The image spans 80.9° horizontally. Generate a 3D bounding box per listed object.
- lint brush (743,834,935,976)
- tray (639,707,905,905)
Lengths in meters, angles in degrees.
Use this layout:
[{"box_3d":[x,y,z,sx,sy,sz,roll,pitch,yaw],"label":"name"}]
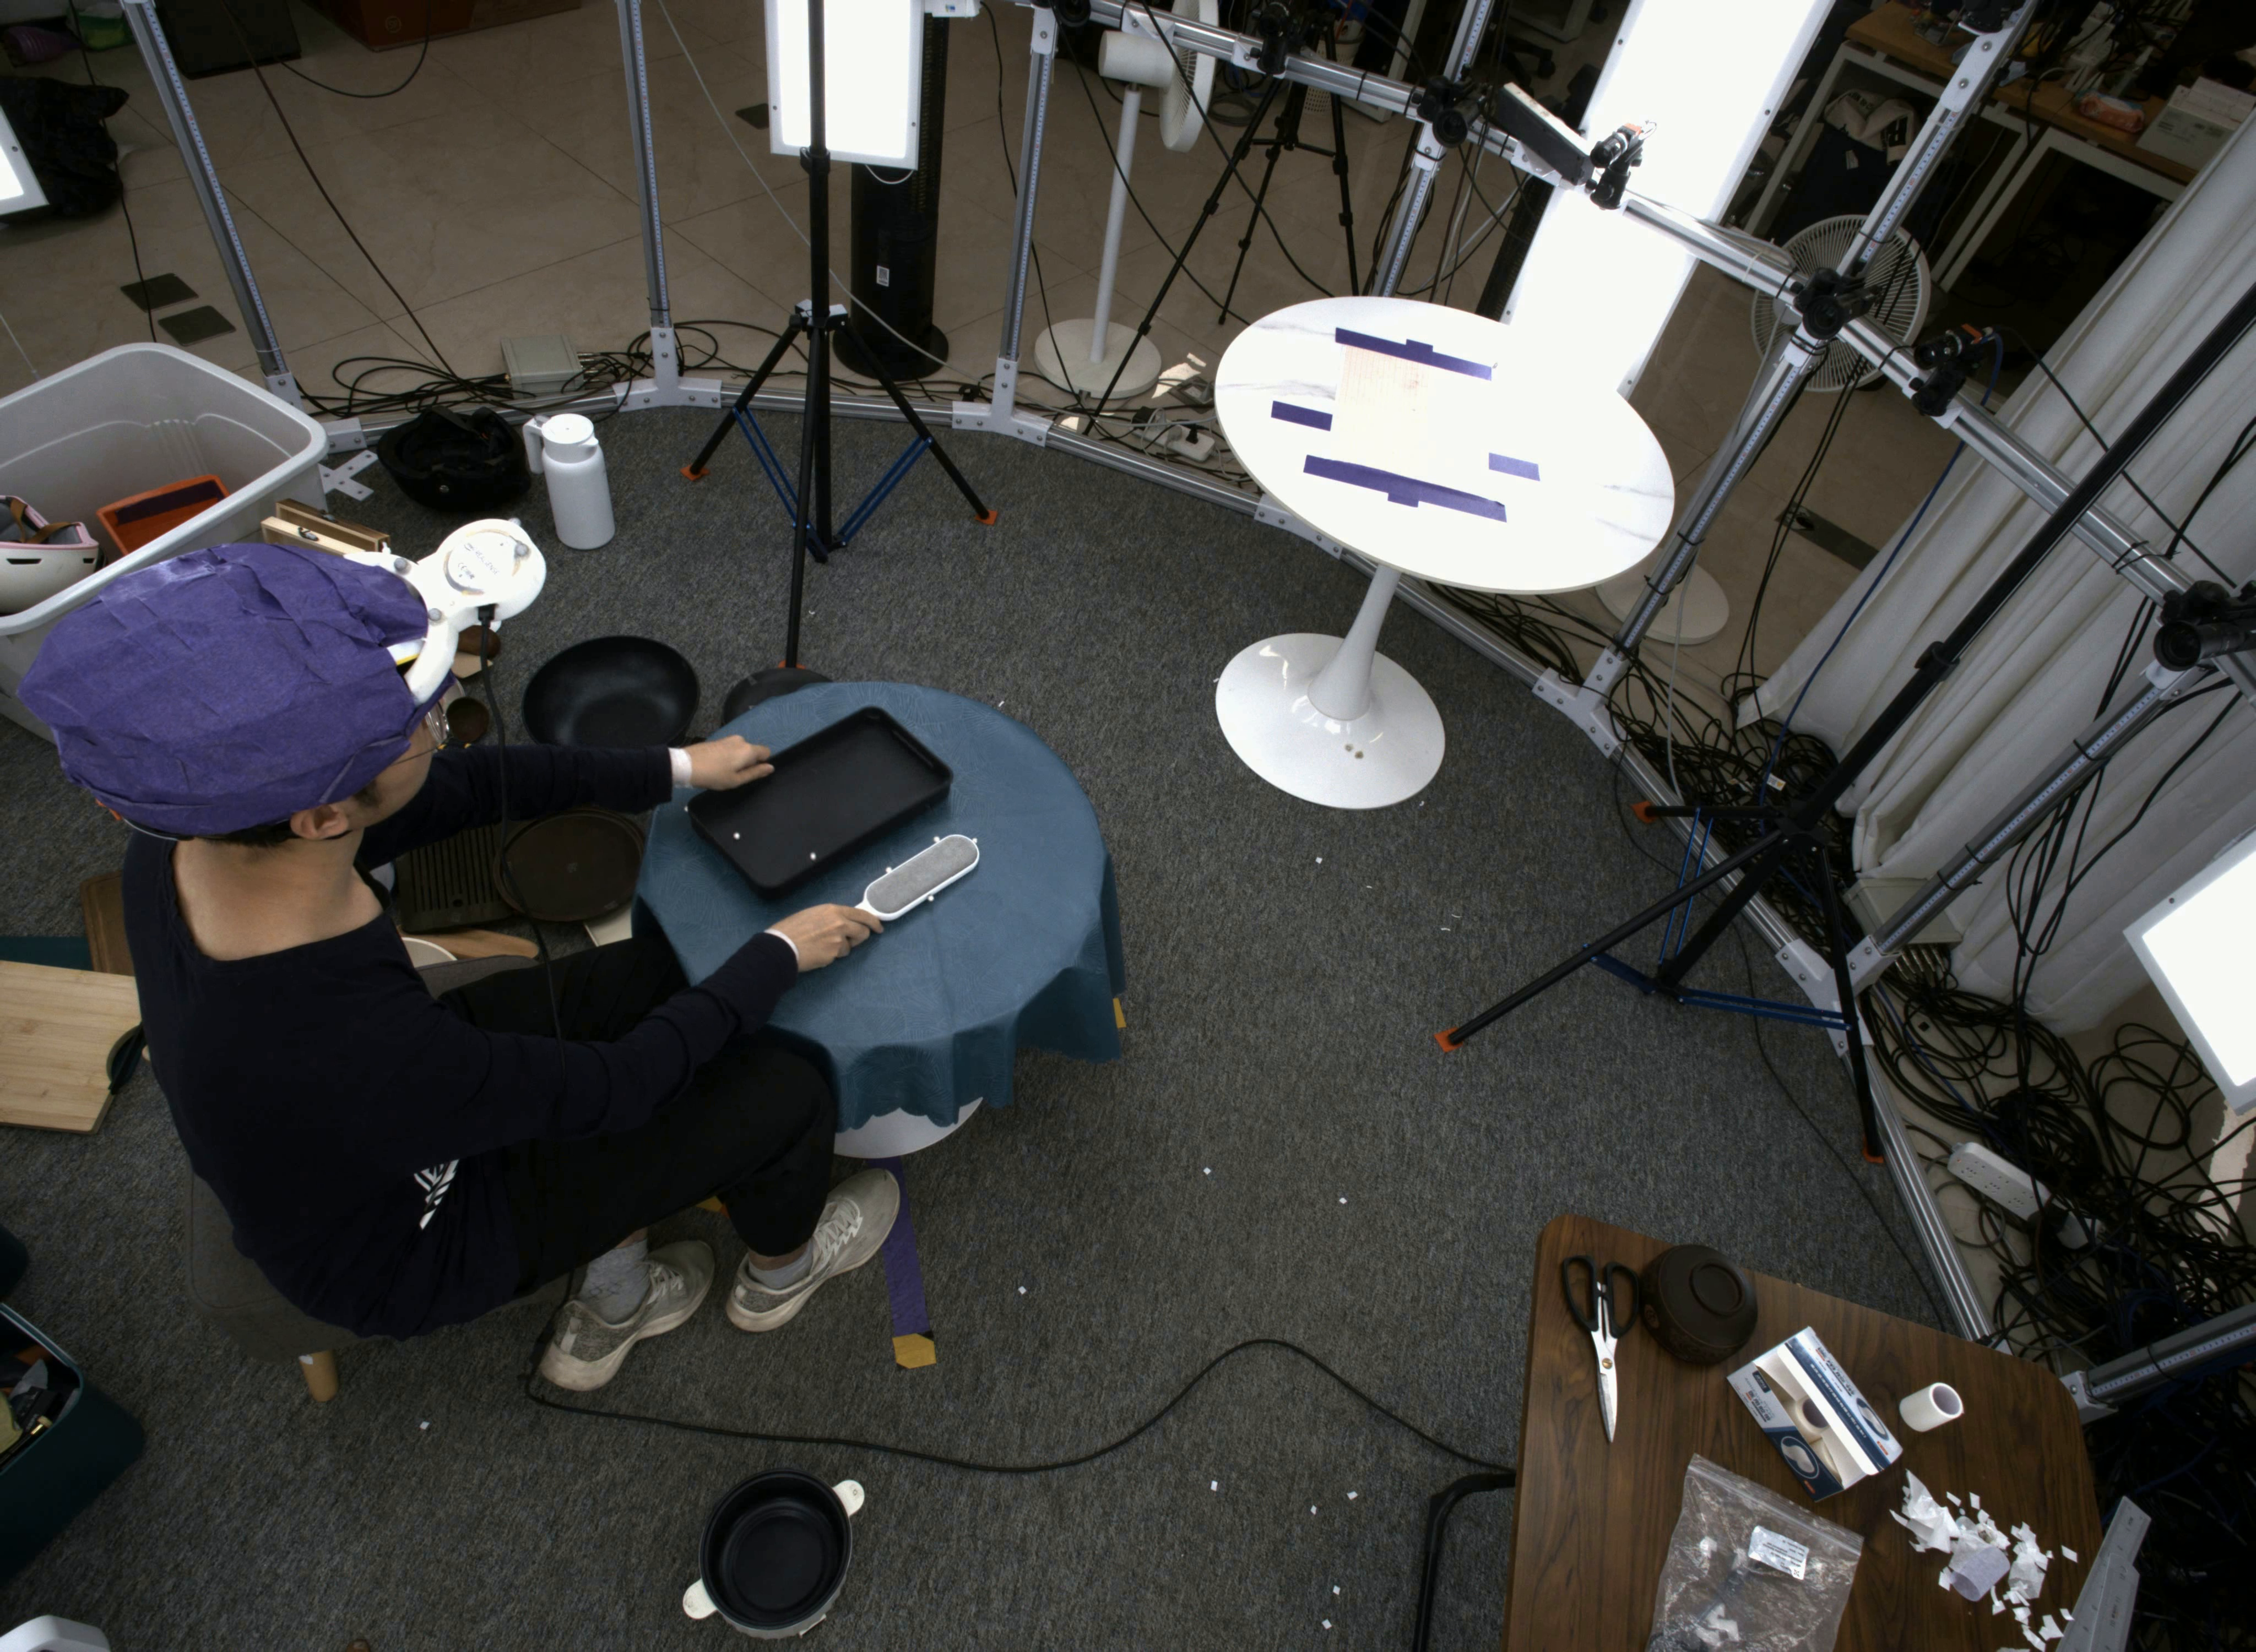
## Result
[{"box_3d":[-0.364,0.096,1.647,0.059,0.021,0.309,47,51,6],"label":"lint brush"},{"box_3d":[-0.464,-0.035,1.705,0.179,0.038,0.318,38,52,20],"label":"tray"}]
